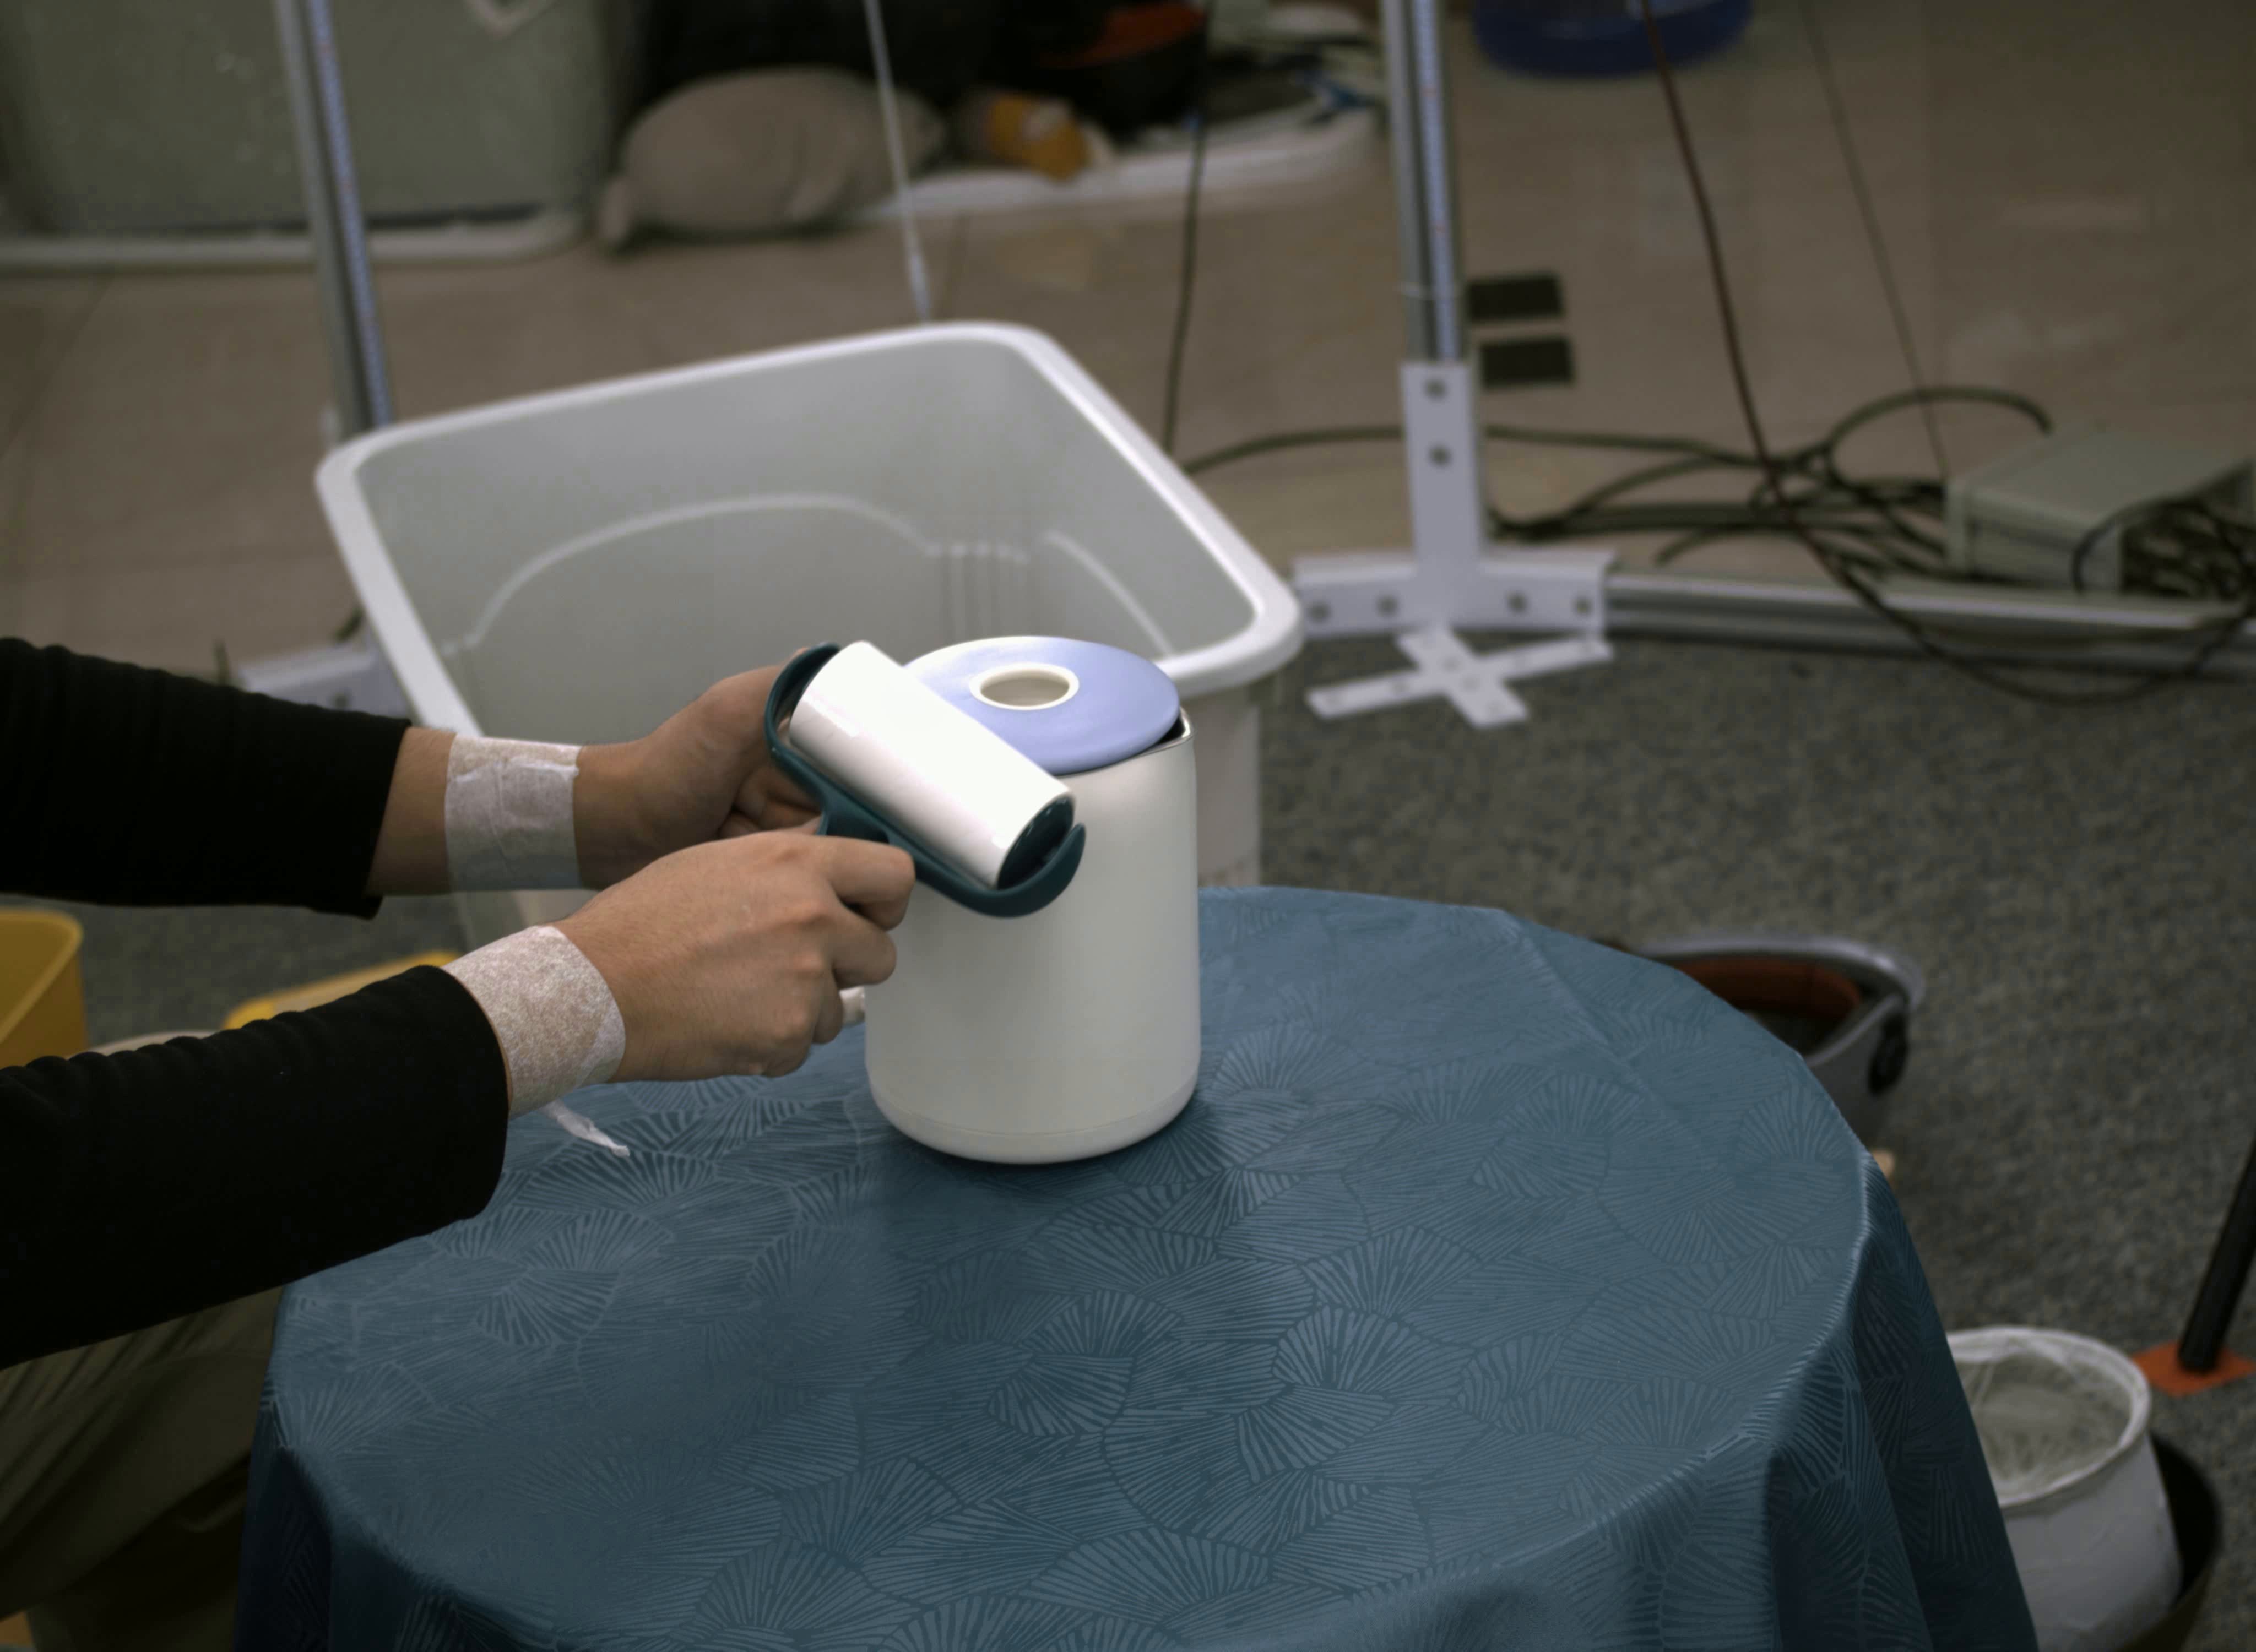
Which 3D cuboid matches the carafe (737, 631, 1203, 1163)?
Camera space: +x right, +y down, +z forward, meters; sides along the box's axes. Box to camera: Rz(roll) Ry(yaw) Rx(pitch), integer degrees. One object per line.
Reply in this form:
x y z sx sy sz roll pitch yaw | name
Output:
-0.061 0.025 2.186 0.190 0.185 0.130 5 27 17 | carafe

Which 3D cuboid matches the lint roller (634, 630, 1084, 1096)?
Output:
-0.115 0.024 2.033 0.133 0.049 0.178 36 62 17 | lint roller
